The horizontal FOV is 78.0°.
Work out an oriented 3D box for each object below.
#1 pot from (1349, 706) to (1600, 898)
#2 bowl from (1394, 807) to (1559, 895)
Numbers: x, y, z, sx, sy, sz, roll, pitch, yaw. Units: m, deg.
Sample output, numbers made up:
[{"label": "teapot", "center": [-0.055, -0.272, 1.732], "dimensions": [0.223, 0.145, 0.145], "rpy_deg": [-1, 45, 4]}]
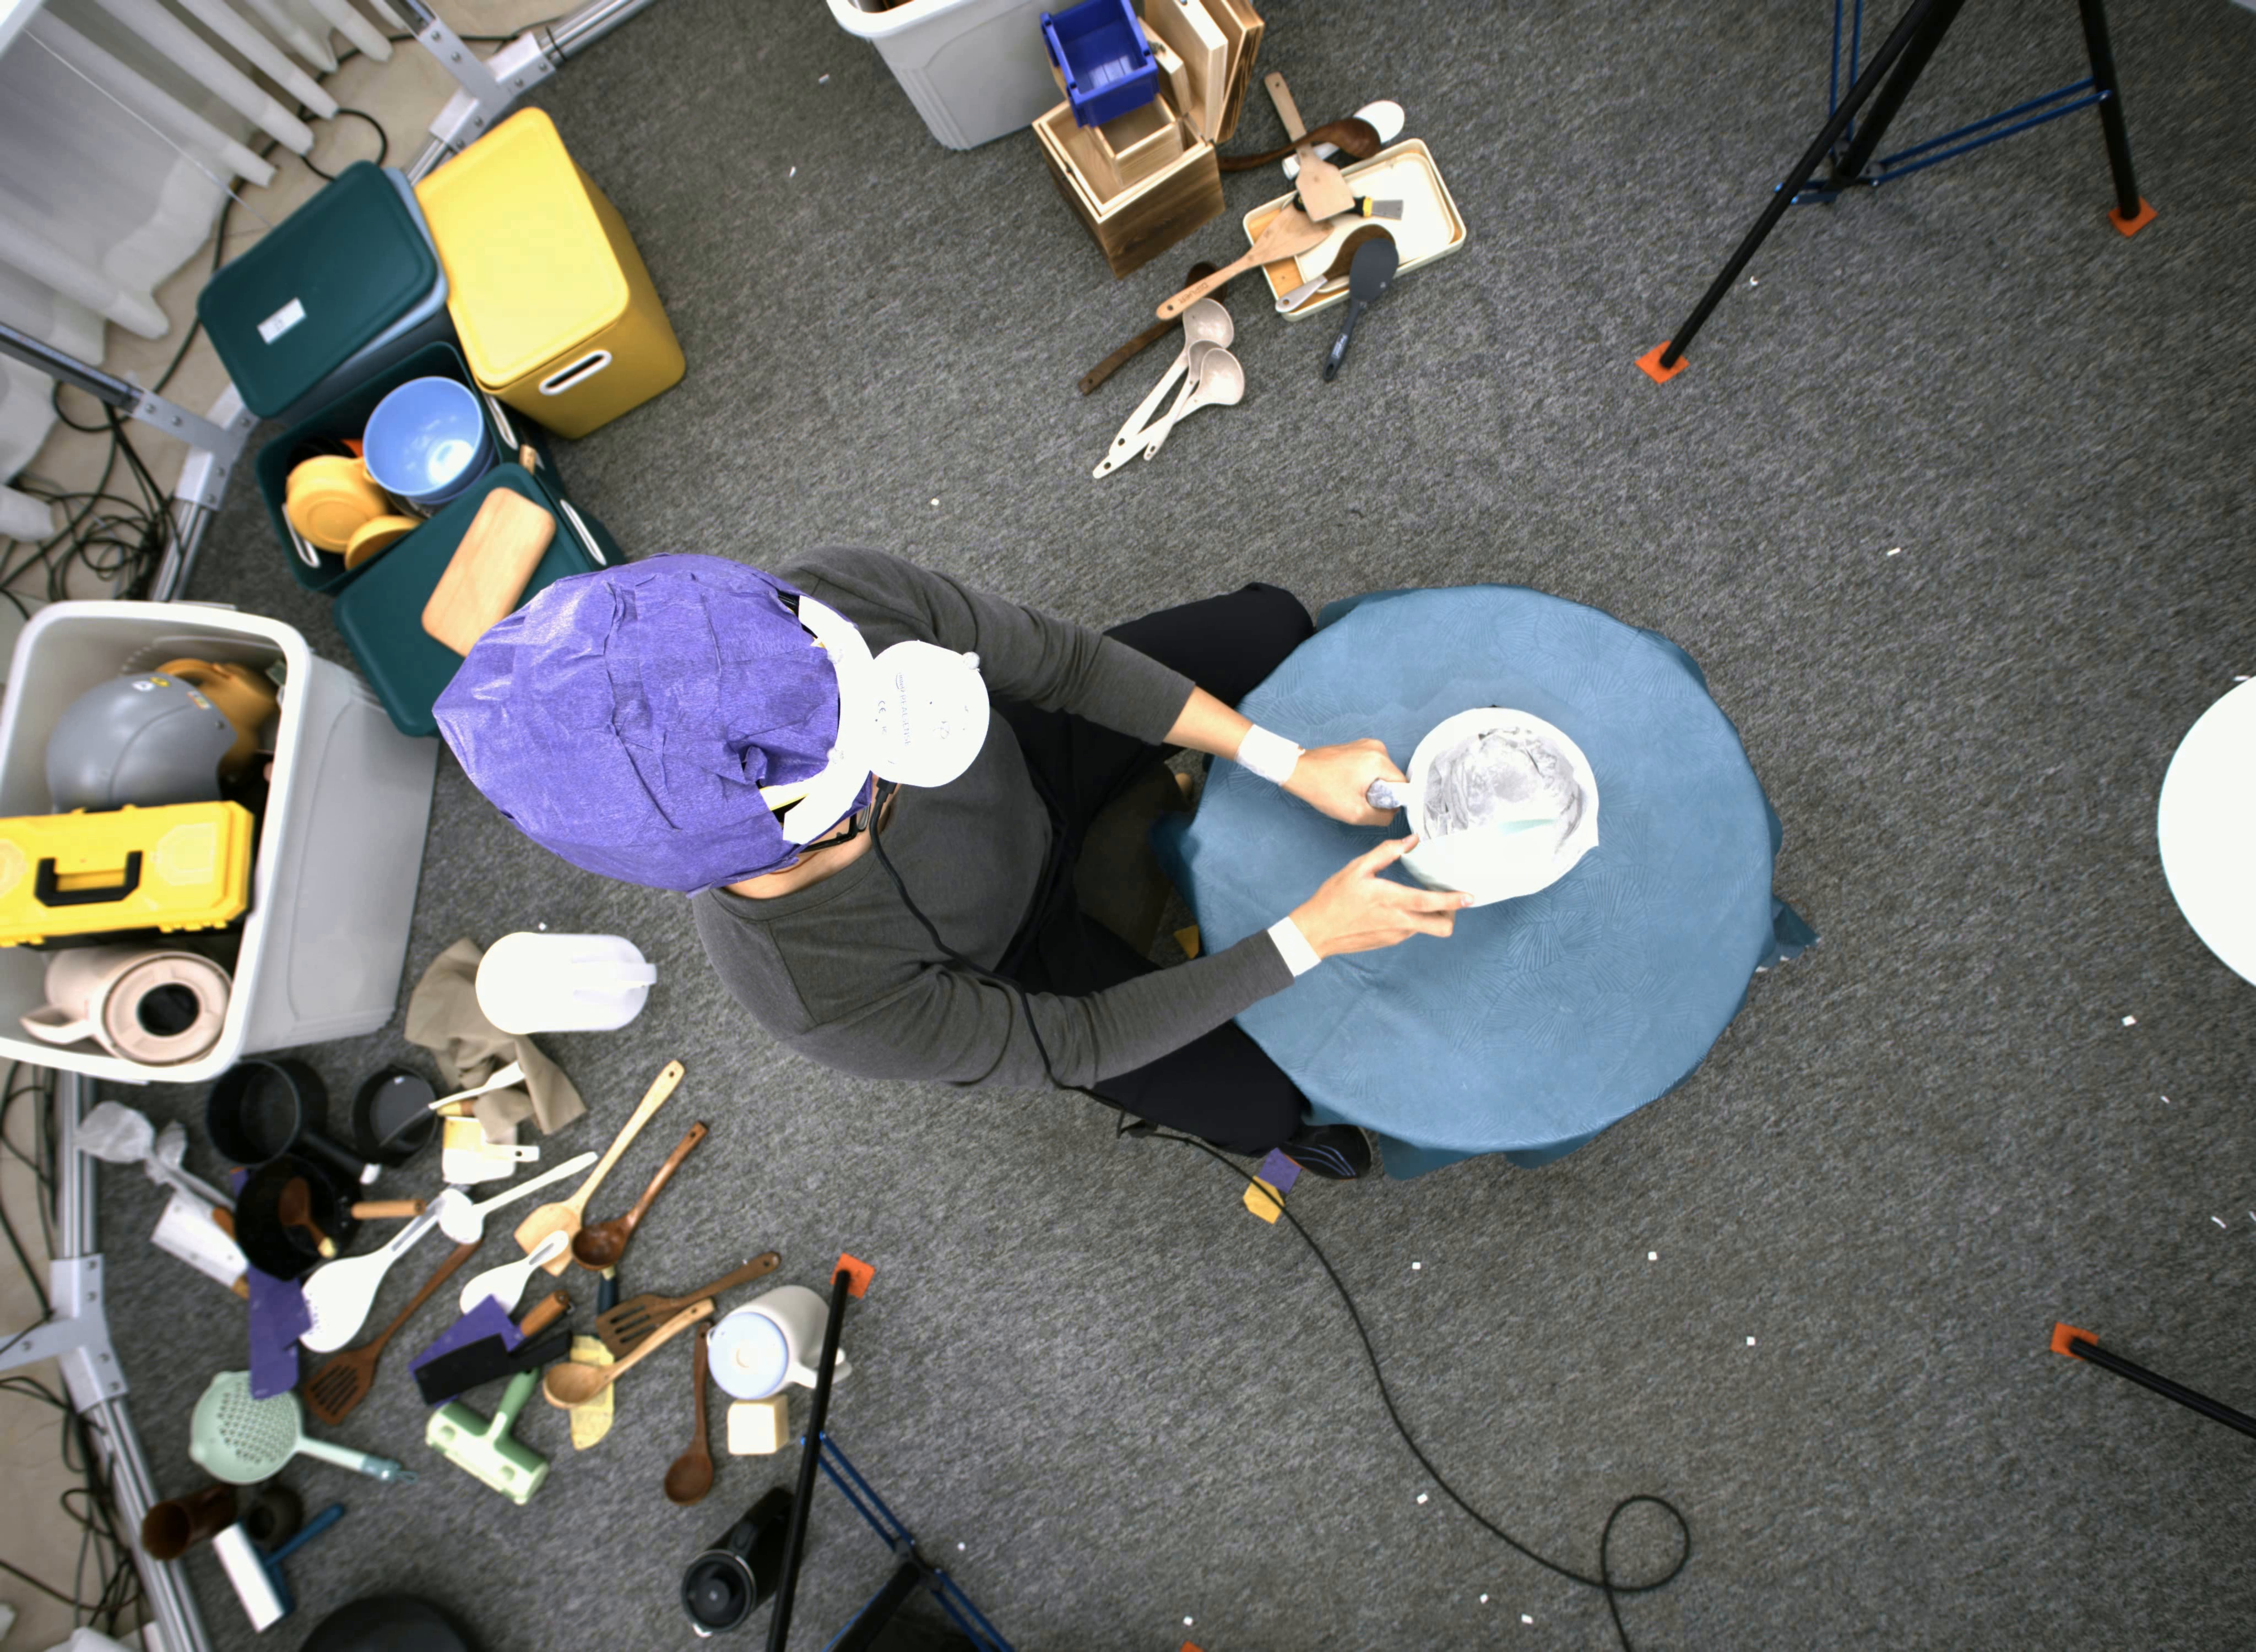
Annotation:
[{"label": "pot", "center": [0.338, -0.031, 1.368], "dimensions": [0.234, 0.135, 0.180], "rpy_deg": [3, 100, 8]}, {"label": "bowl", "center": [0.320, 0.023, 1.272], "dimensions": [0.152, 0.149, 0.059], "rpy_deg": [1, 104, 10]}]
